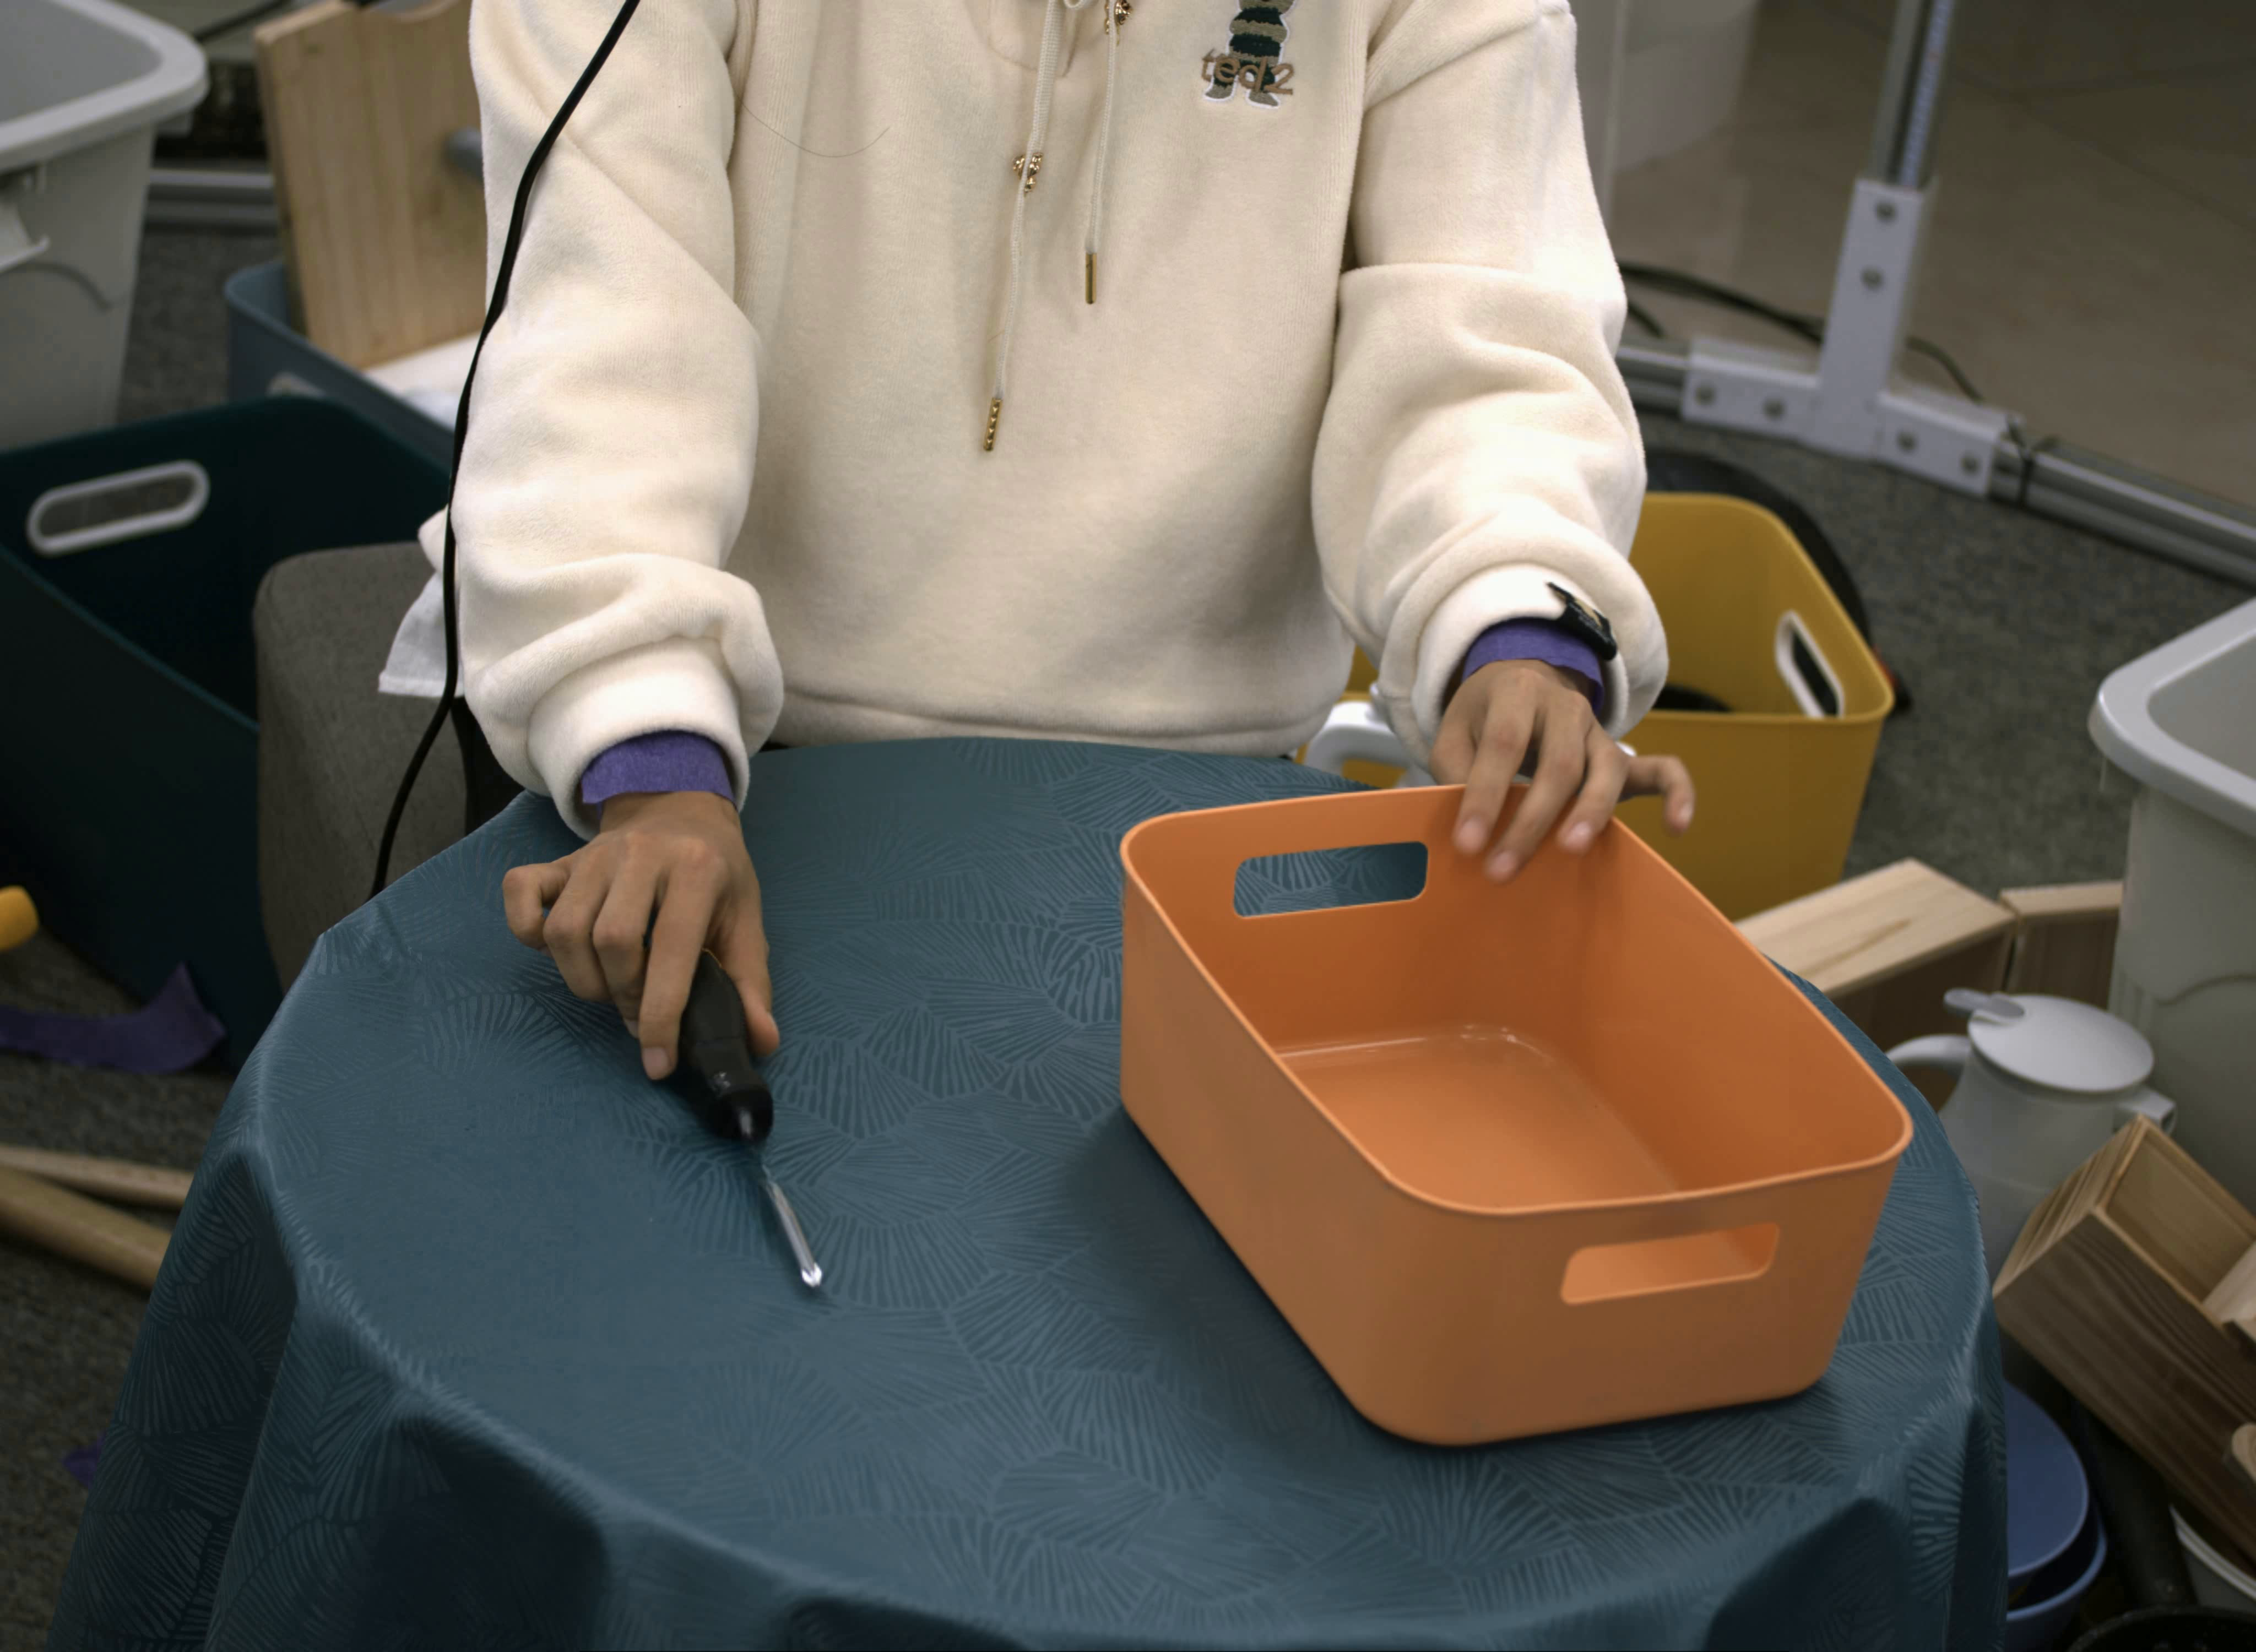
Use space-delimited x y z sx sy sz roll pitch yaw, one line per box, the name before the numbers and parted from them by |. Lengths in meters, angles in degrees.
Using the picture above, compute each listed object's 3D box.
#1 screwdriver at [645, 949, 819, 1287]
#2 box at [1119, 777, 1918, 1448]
screwdriver | -0.134 0.101 1.798 0.031 0.031 0.198 -1 31 -16
box | 0.121 0.093 1.772 0.198 0.102 0.276 -6 30 -22
